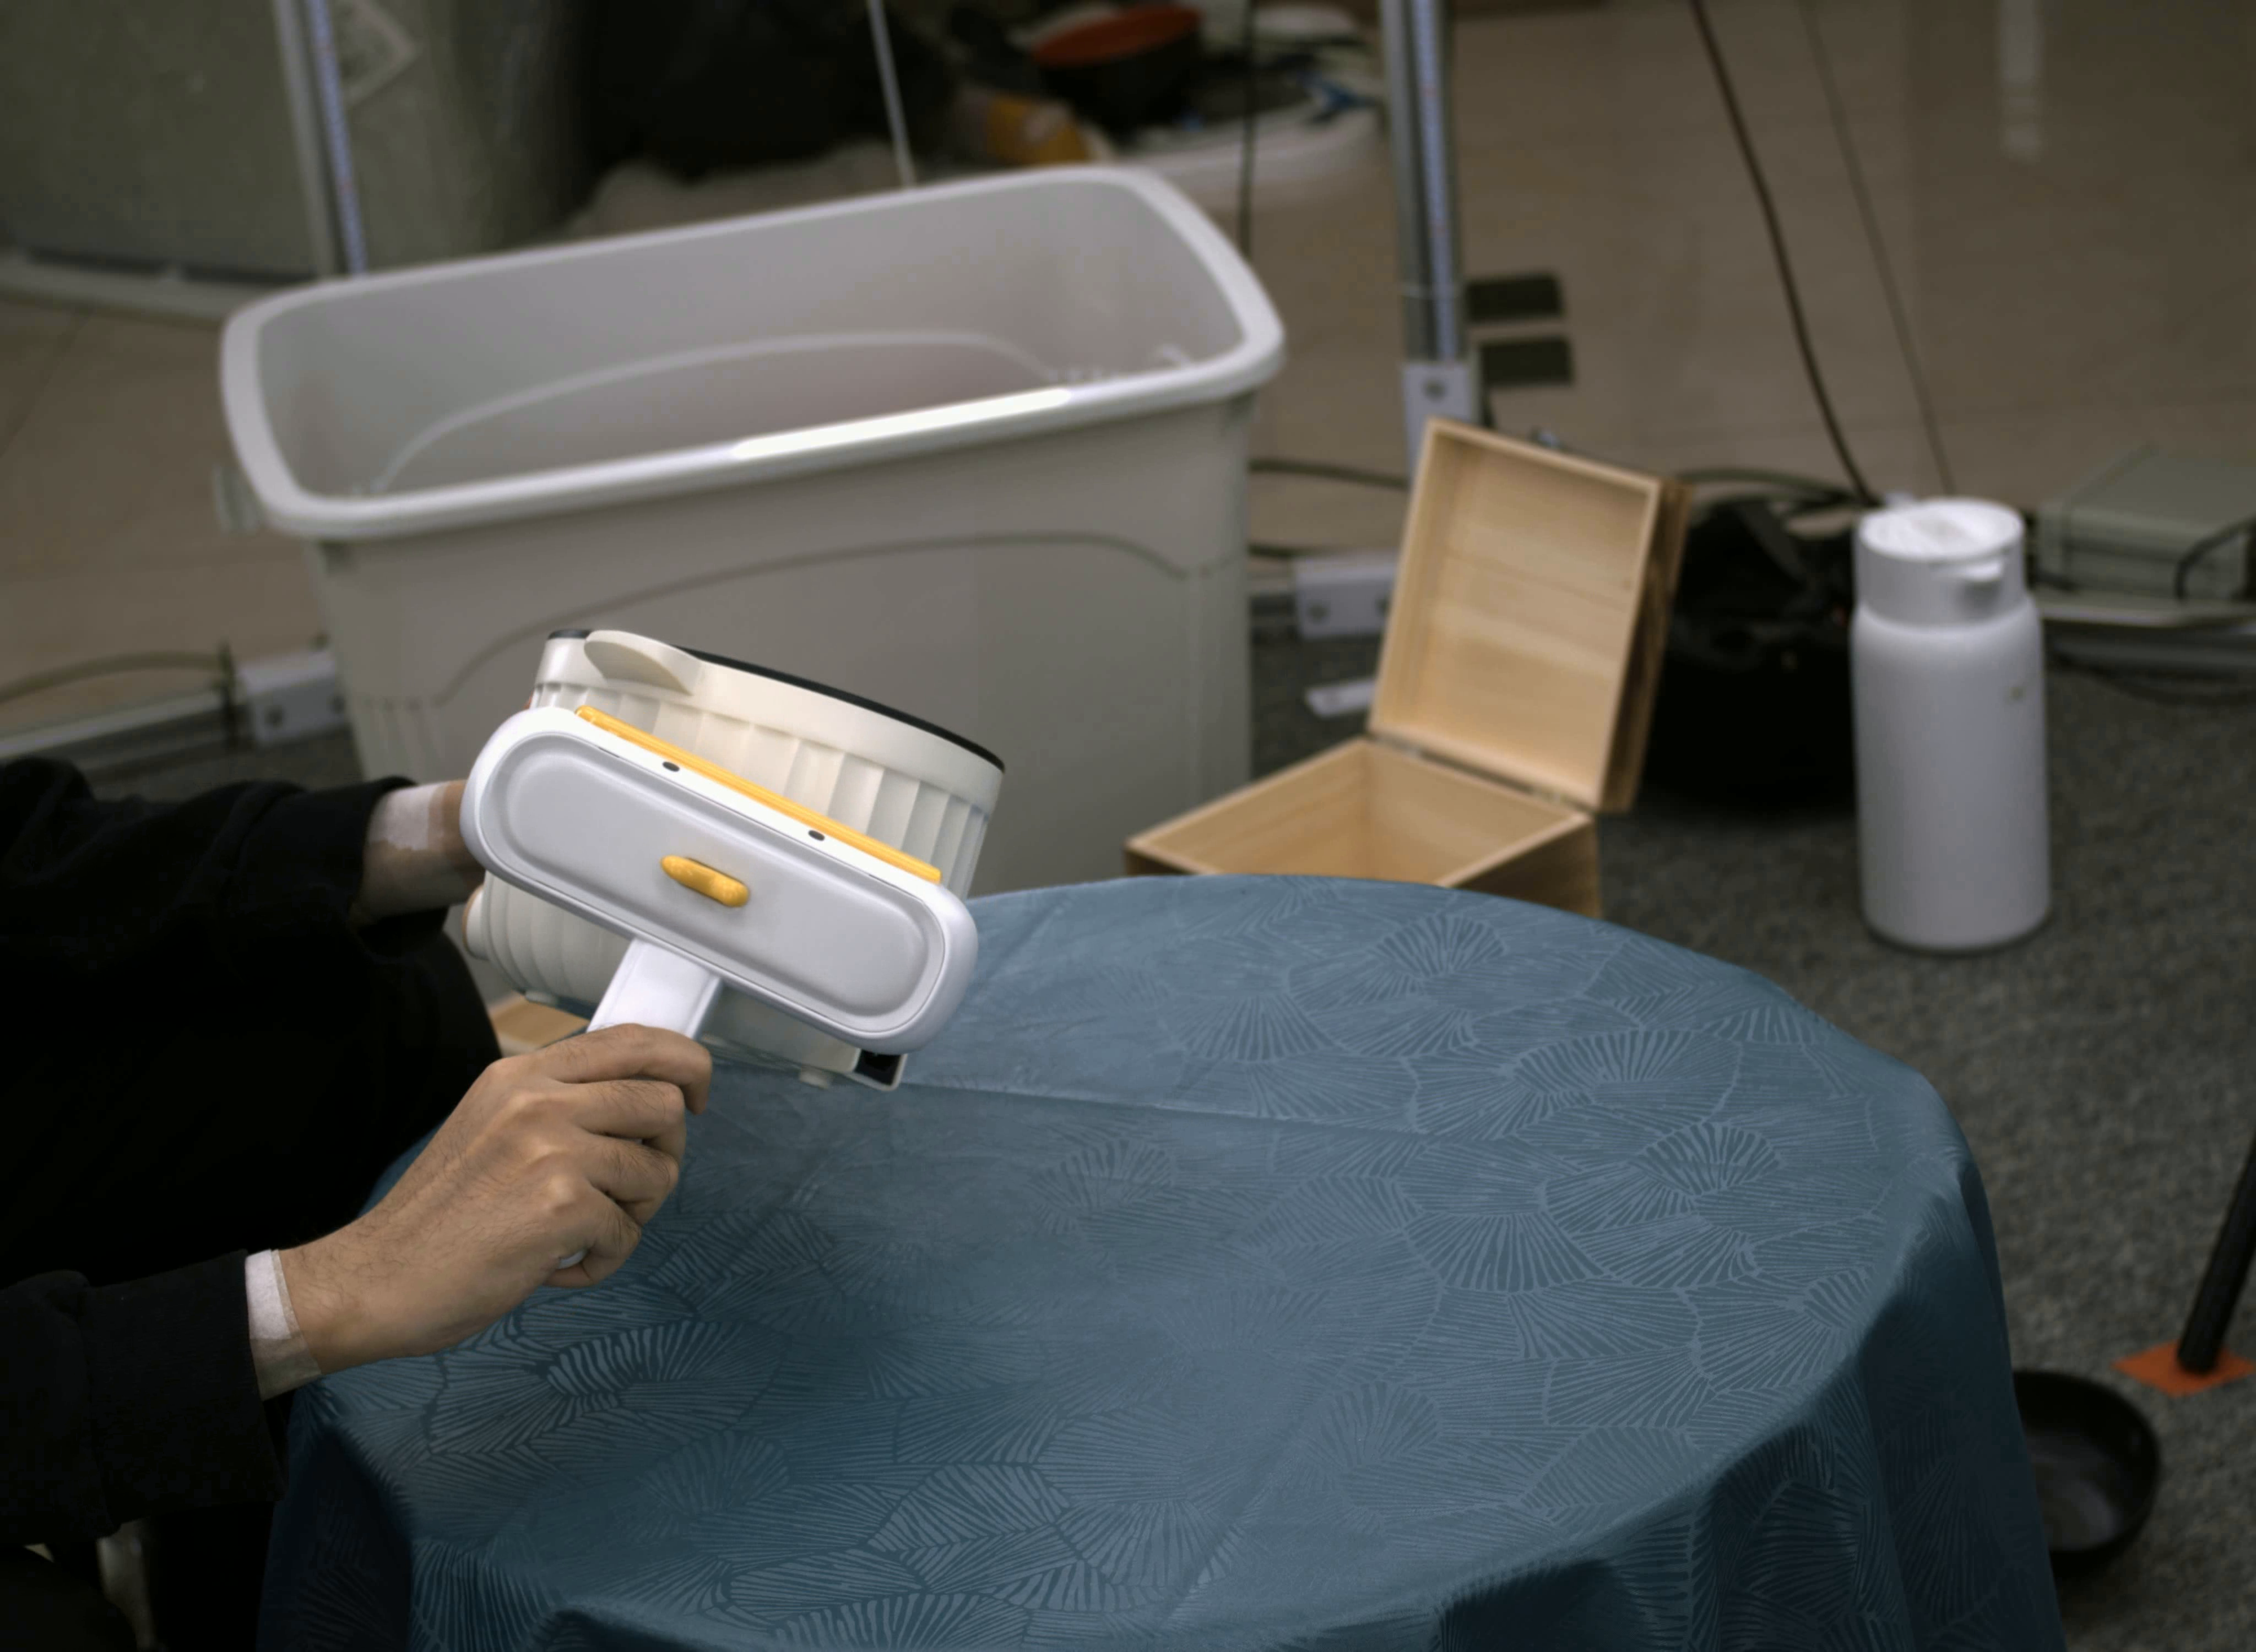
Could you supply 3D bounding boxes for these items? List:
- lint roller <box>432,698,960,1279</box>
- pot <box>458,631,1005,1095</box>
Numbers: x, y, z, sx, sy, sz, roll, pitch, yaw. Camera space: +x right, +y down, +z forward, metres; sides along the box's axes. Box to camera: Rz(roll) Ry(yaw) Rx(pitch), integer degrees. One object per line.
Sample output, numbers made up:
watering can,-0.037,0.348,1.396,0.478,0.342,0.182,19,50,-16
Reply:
lint roller,-0.174,0.069,2.008,0.193,0.192,0.074,22,-6,-5
pot,-0.156,0.016,2.138,0.189,0.142,0.242,15,-7,27
